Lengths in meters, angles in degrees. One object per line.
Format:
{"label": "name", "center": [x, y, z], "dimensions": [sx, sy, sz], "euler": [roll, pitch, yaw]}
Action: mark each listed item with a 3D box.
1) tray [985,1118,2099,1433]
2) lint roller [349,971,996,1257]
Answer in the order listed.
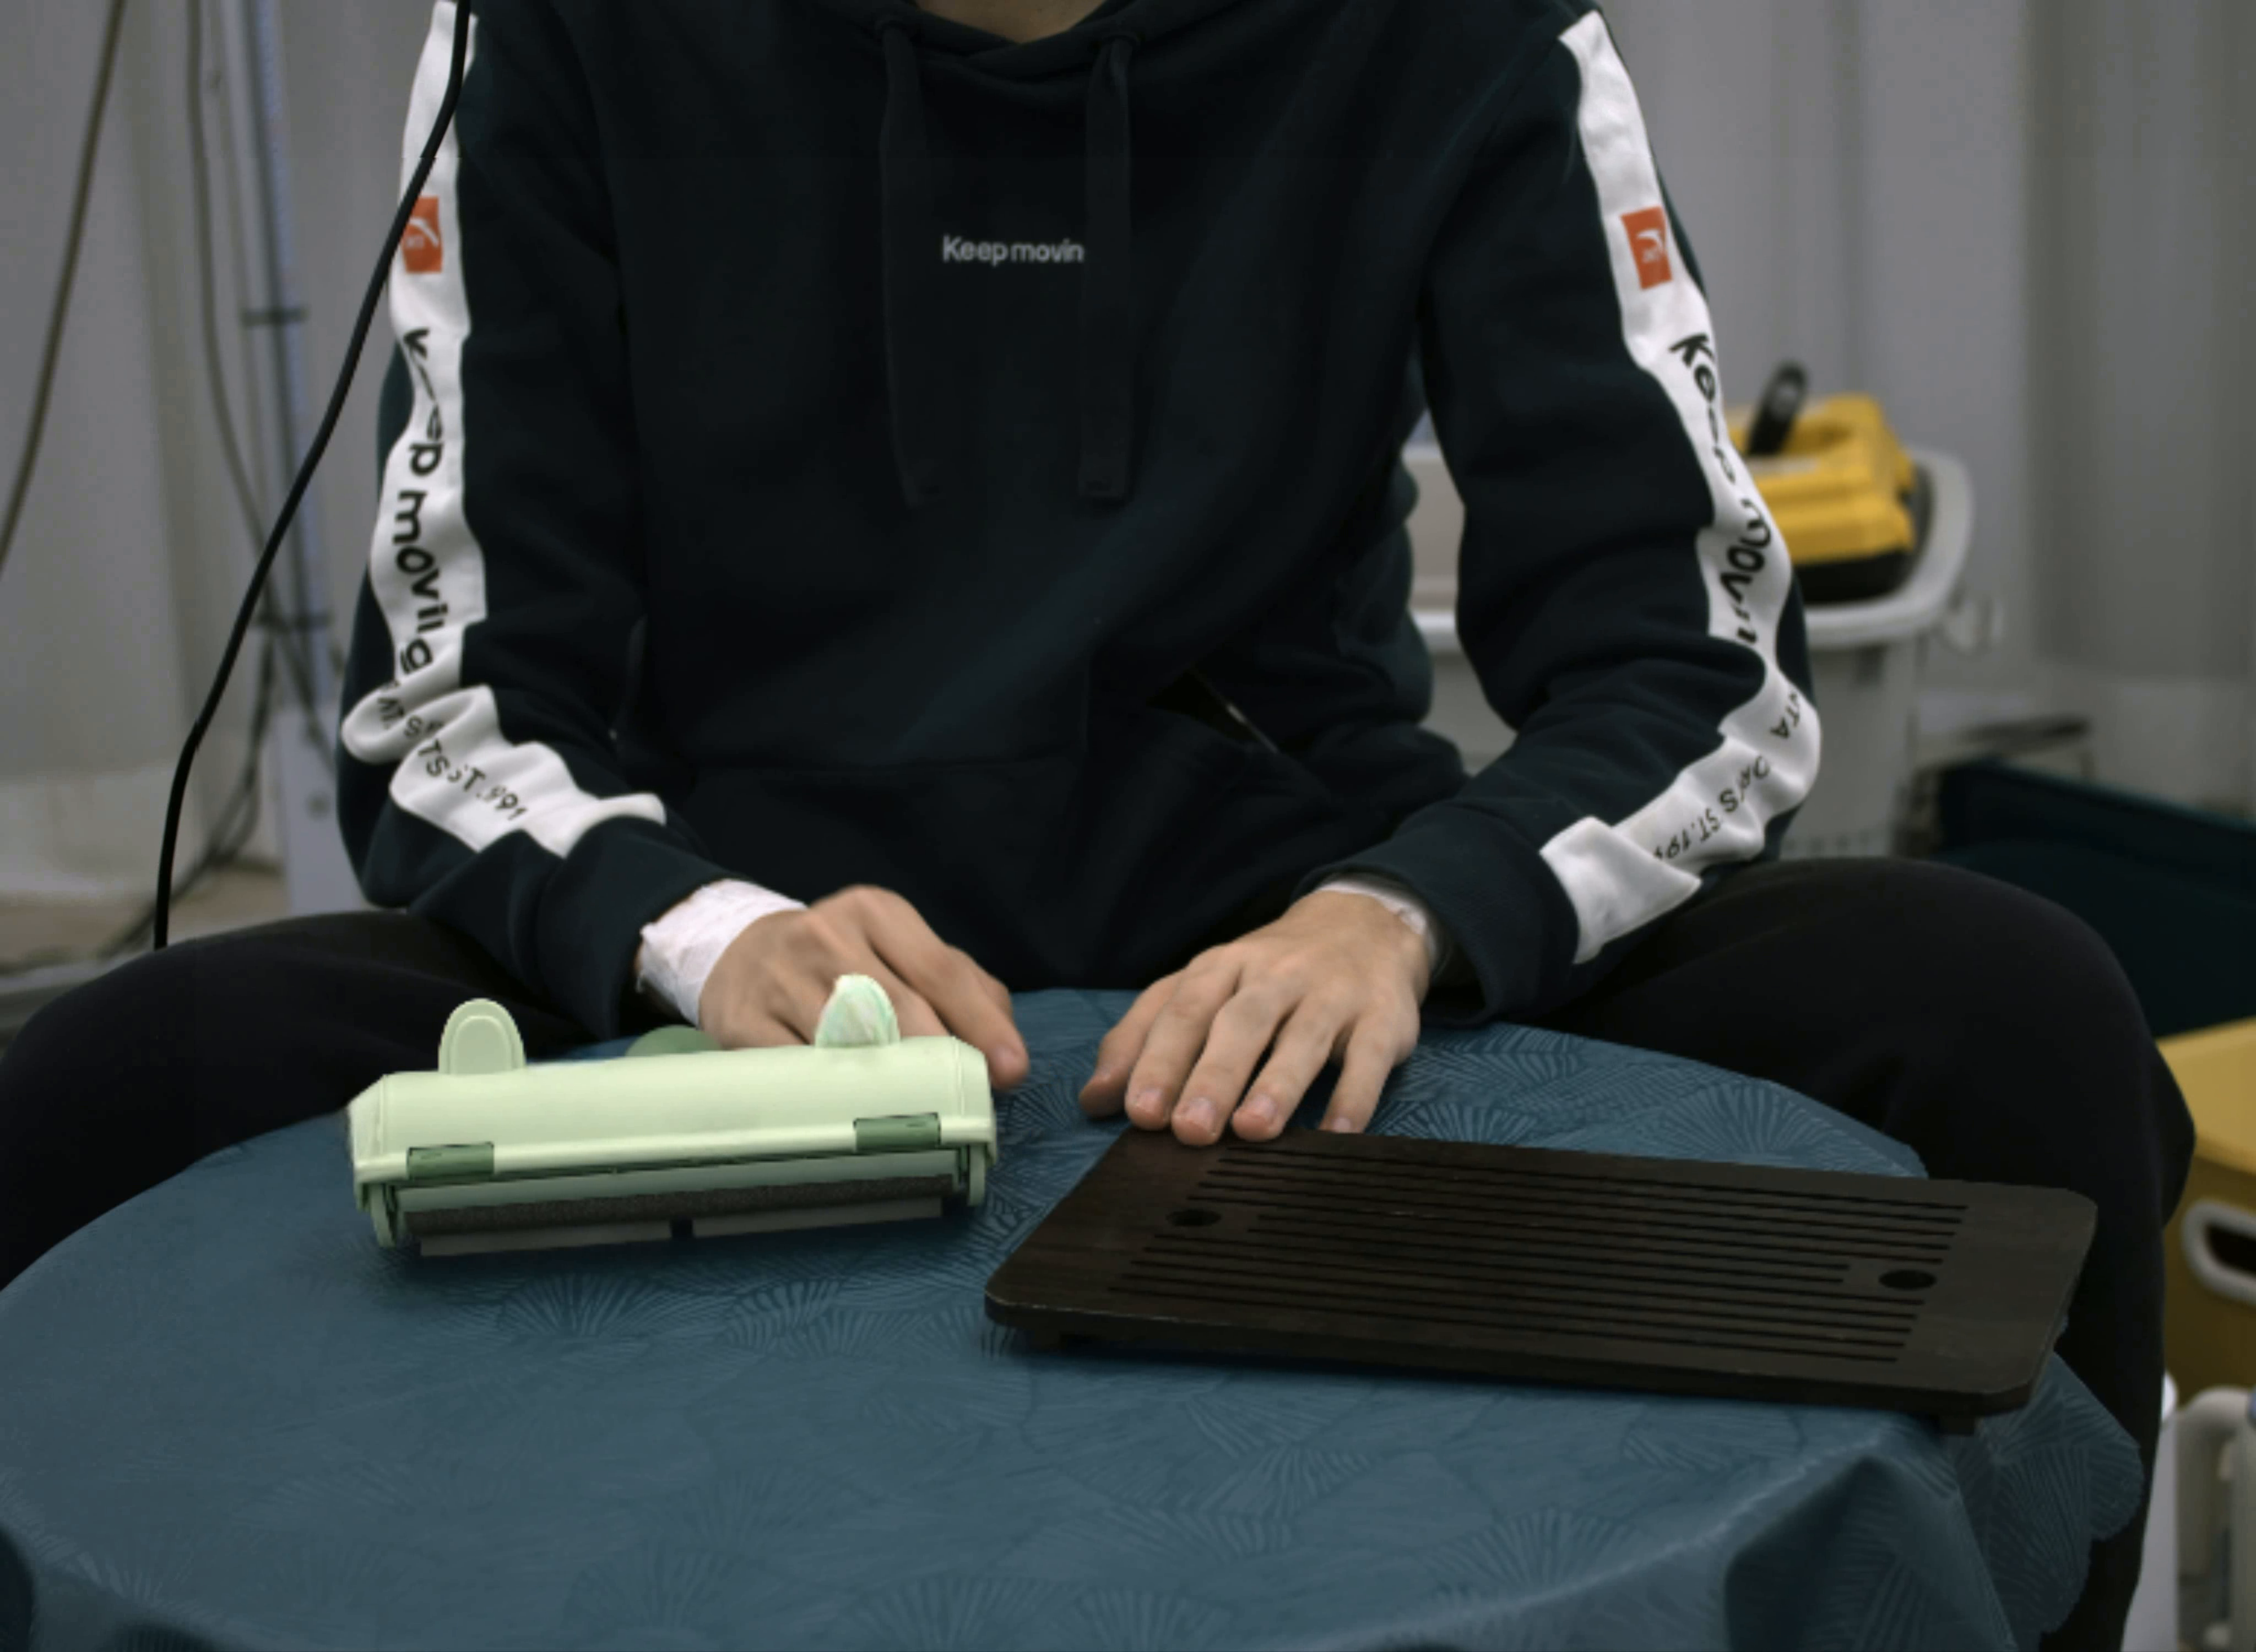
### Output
{"label": "tray", "center": [0.124, 0.131, 1.611], "dimensions": [0.306, 0.018, 0.171], "euler": [3, 17, 17]}
{"label": "lint roller", "center": [-0.145, 0.075, 1.740], "dimensions": [0.198, 0.082, 0.185], "euler": [-4, 18, -4]}
